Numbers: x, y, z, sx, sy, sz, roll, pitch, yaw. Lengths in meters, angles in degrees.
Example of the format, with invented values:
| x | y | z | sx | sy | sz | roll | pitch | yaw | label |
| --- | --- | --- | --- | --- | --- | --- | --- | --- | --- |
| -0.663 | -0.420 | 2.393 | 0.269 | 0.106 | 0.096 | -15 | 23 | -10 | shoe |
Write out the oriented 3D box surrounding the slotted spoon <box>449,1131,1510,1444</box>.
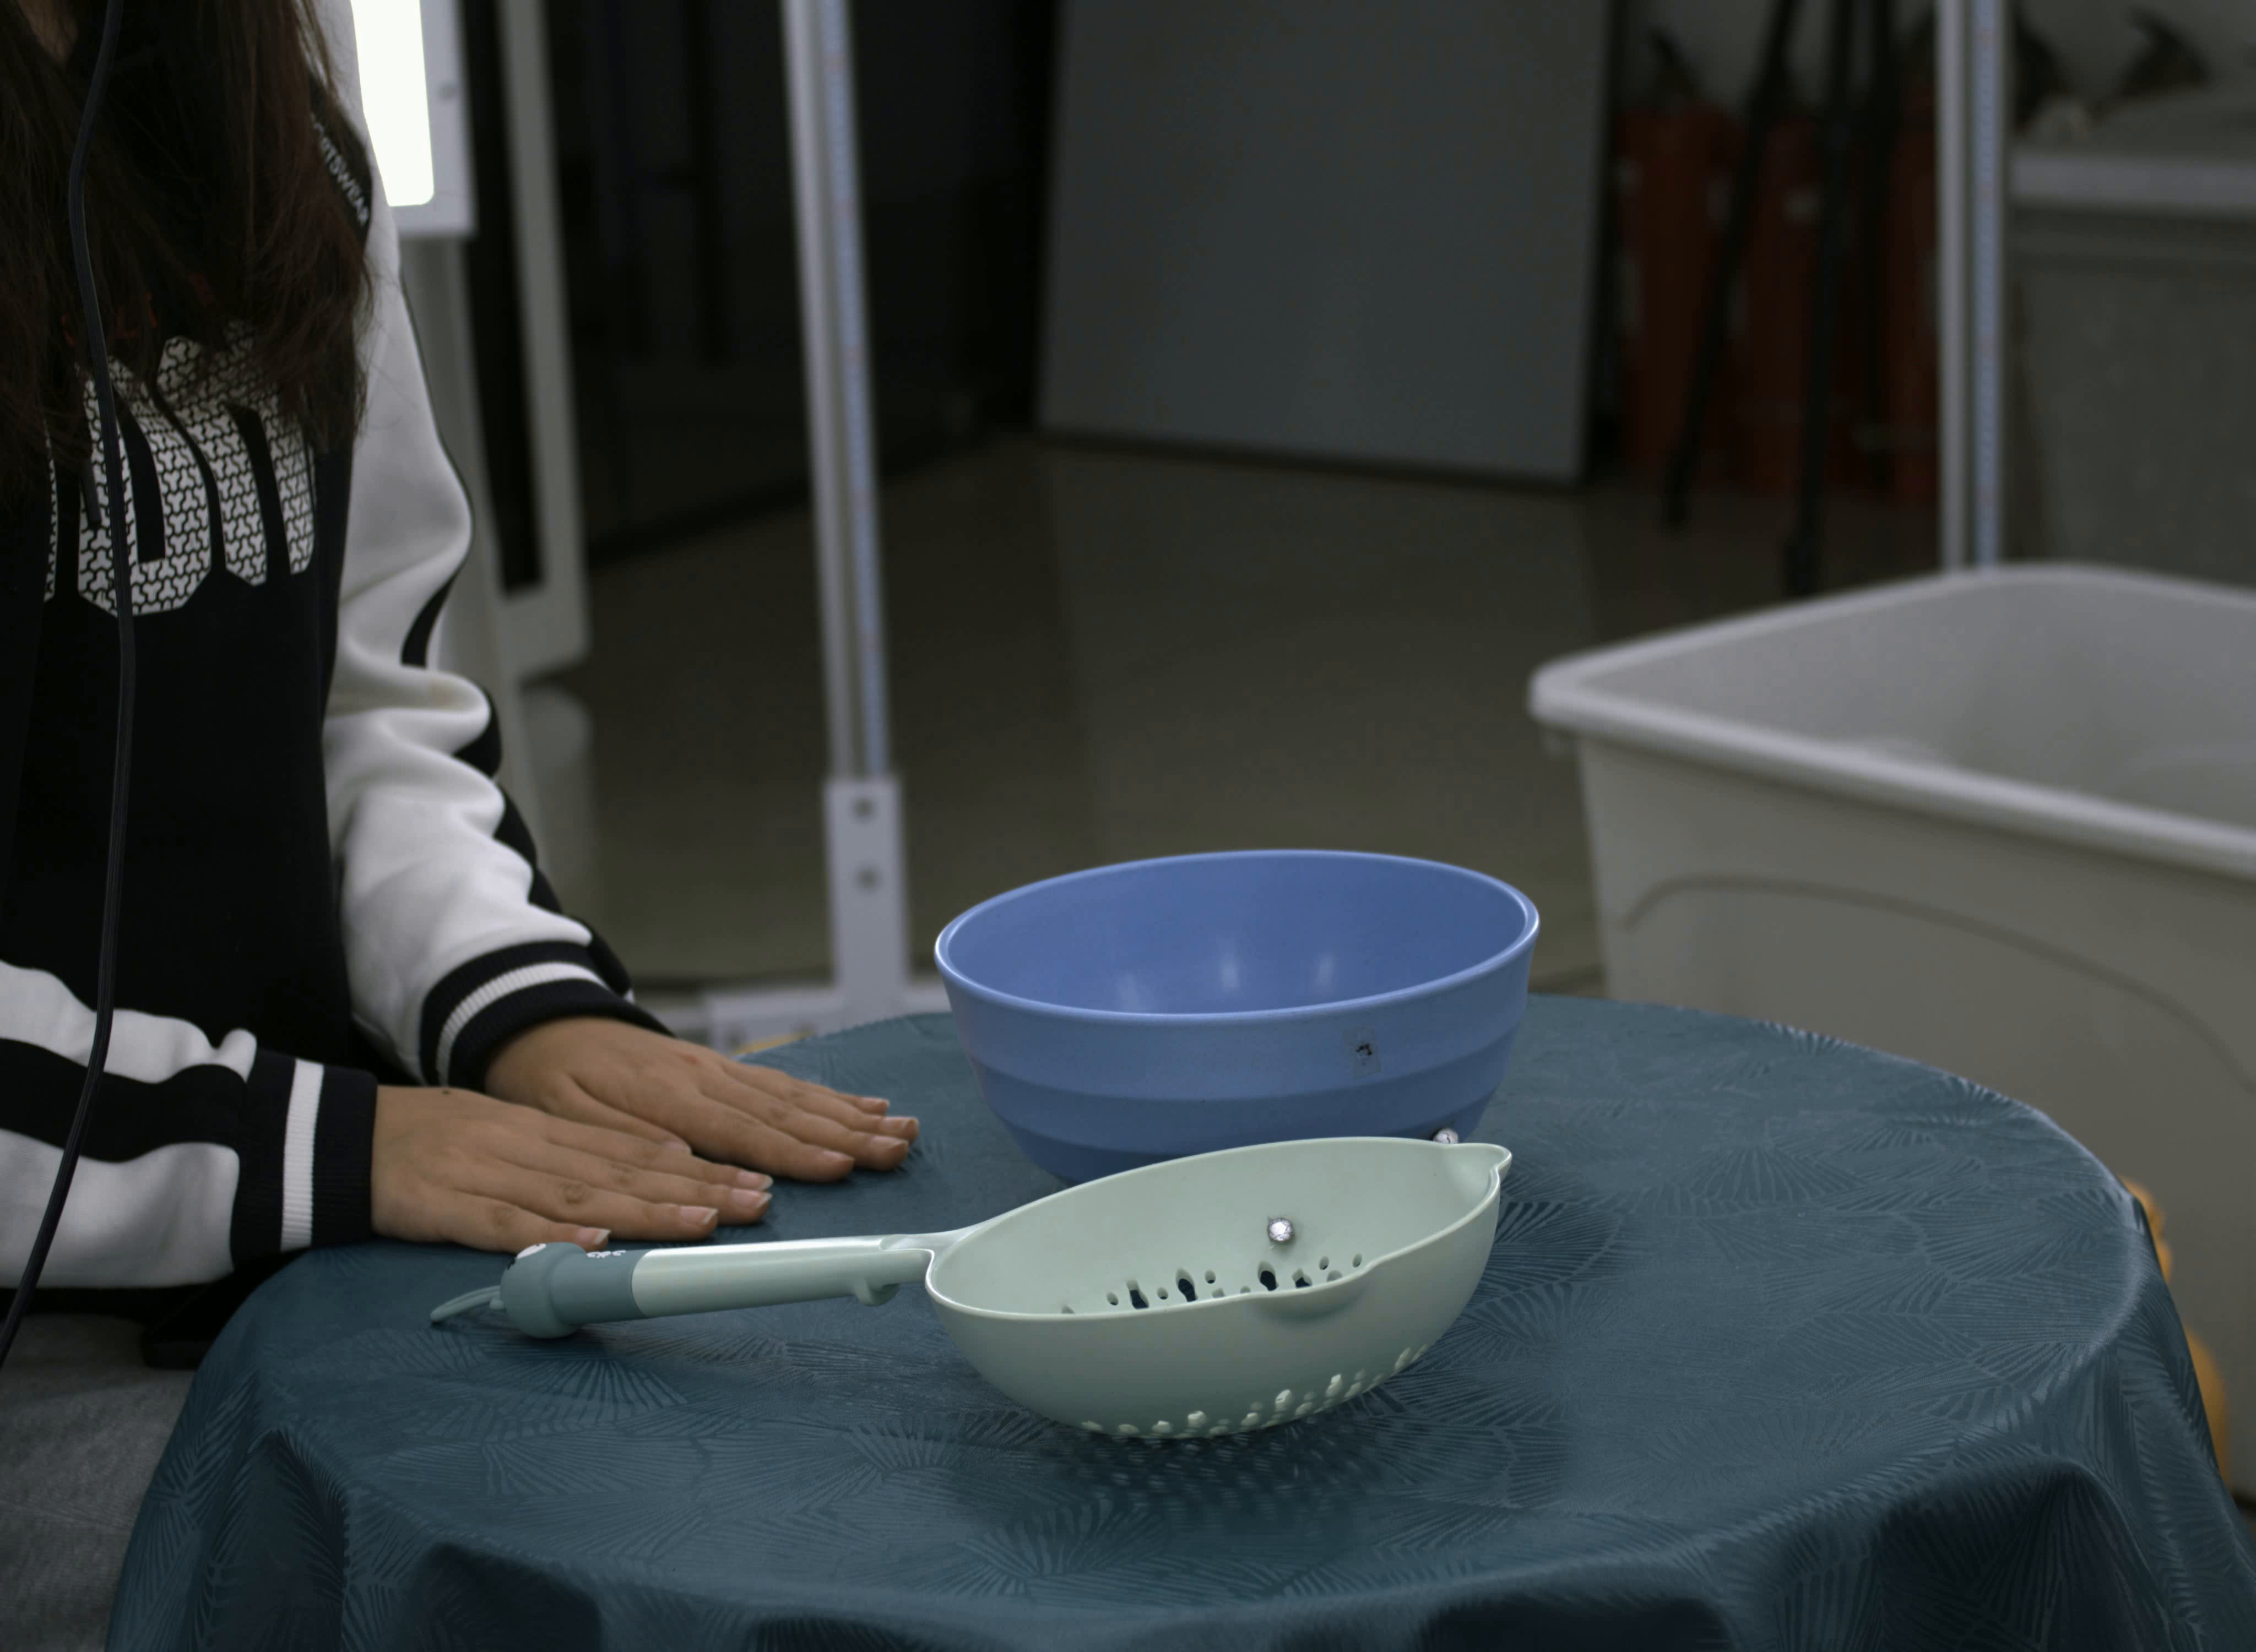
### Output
| x | y | z | sx | sy | sz | roll | pitch | yaw | label |
| --- | --- | --- | --- | --- | --- | --- | --- | --- | --- |
| -0.057 | 0.137 | 1.601 | 0.360 | 0.076 | 0.167 | 1 | 13 | 29 | slotted spoon |

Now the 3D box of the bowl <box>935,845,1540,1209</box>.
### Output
| x | y | z | sx | sy | sz | roll | pitch | yaw | label |
| --- | --- | --- | --- | --- | --- | --- | --- | --- | --- |
| 0.038 | 0.077 | 1.737 | 0.194 | 0.096 | 0.197 | -4 | 14 | 0 | bowl |
